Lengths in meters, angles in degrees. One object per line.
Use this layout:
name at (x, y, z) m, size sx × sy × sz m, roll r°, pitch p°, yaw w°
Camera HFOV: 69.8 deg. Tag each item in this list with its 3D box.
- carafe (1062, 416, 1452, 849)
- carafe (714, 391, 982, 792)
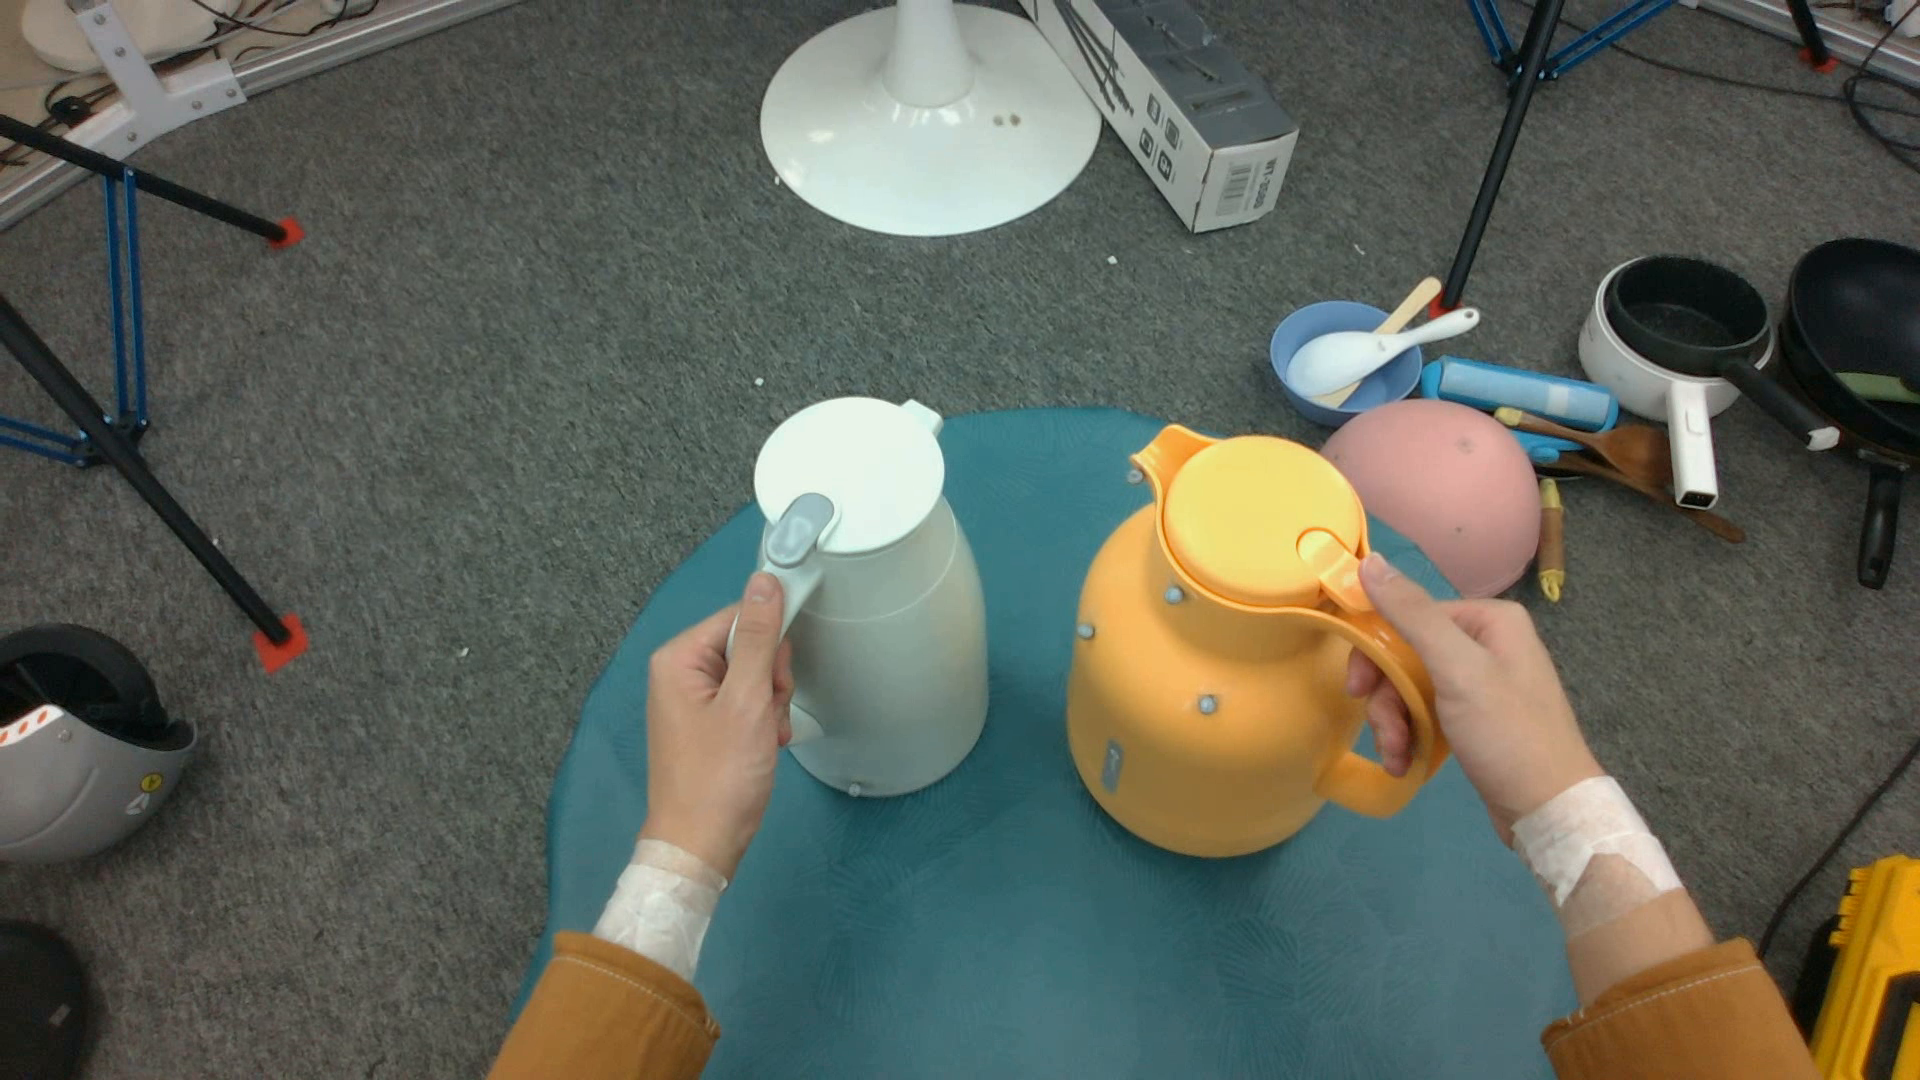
carafe at (0.149, 0.062, 0.722) m, size 0.164 × 0.259 × 0.202 m, roll -38°, pitch 62°, yaw -19°
carafe at (-0.065, 0.042, 0.744) m, size 0.132 × 0.247 × 0.168 m, roll 29°, pitch 62°, yaw 18°
